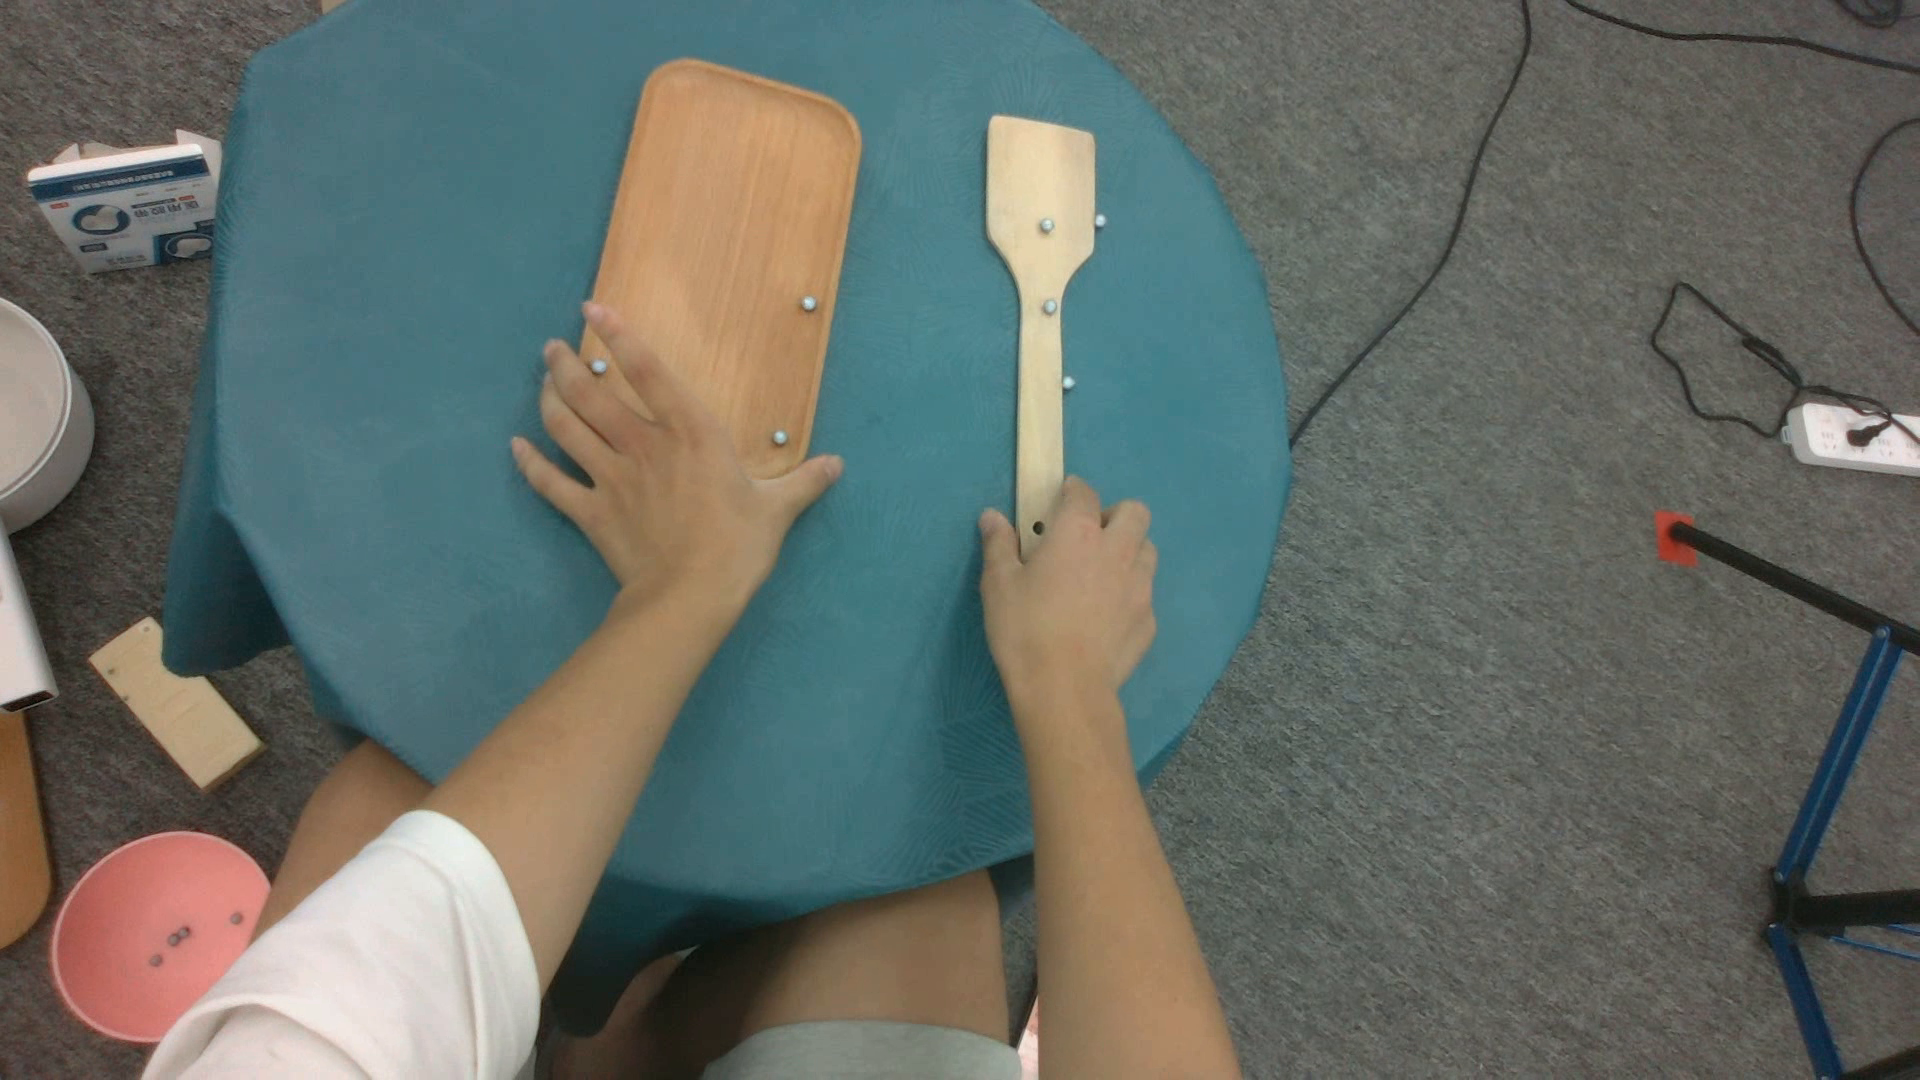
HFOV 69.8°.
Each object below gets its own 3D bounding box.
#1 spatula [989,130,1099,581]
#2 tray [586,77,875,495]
[{"bbox_3d":[0.053,-0.116,0.828,0.072,0.010,0.294,5,71,-14],"label":"spatula"},{"bbox_3d":[-0.127,-0.149,0.788,0.130,0.023,0.251,13,69,-13],"label":"tray"}]
